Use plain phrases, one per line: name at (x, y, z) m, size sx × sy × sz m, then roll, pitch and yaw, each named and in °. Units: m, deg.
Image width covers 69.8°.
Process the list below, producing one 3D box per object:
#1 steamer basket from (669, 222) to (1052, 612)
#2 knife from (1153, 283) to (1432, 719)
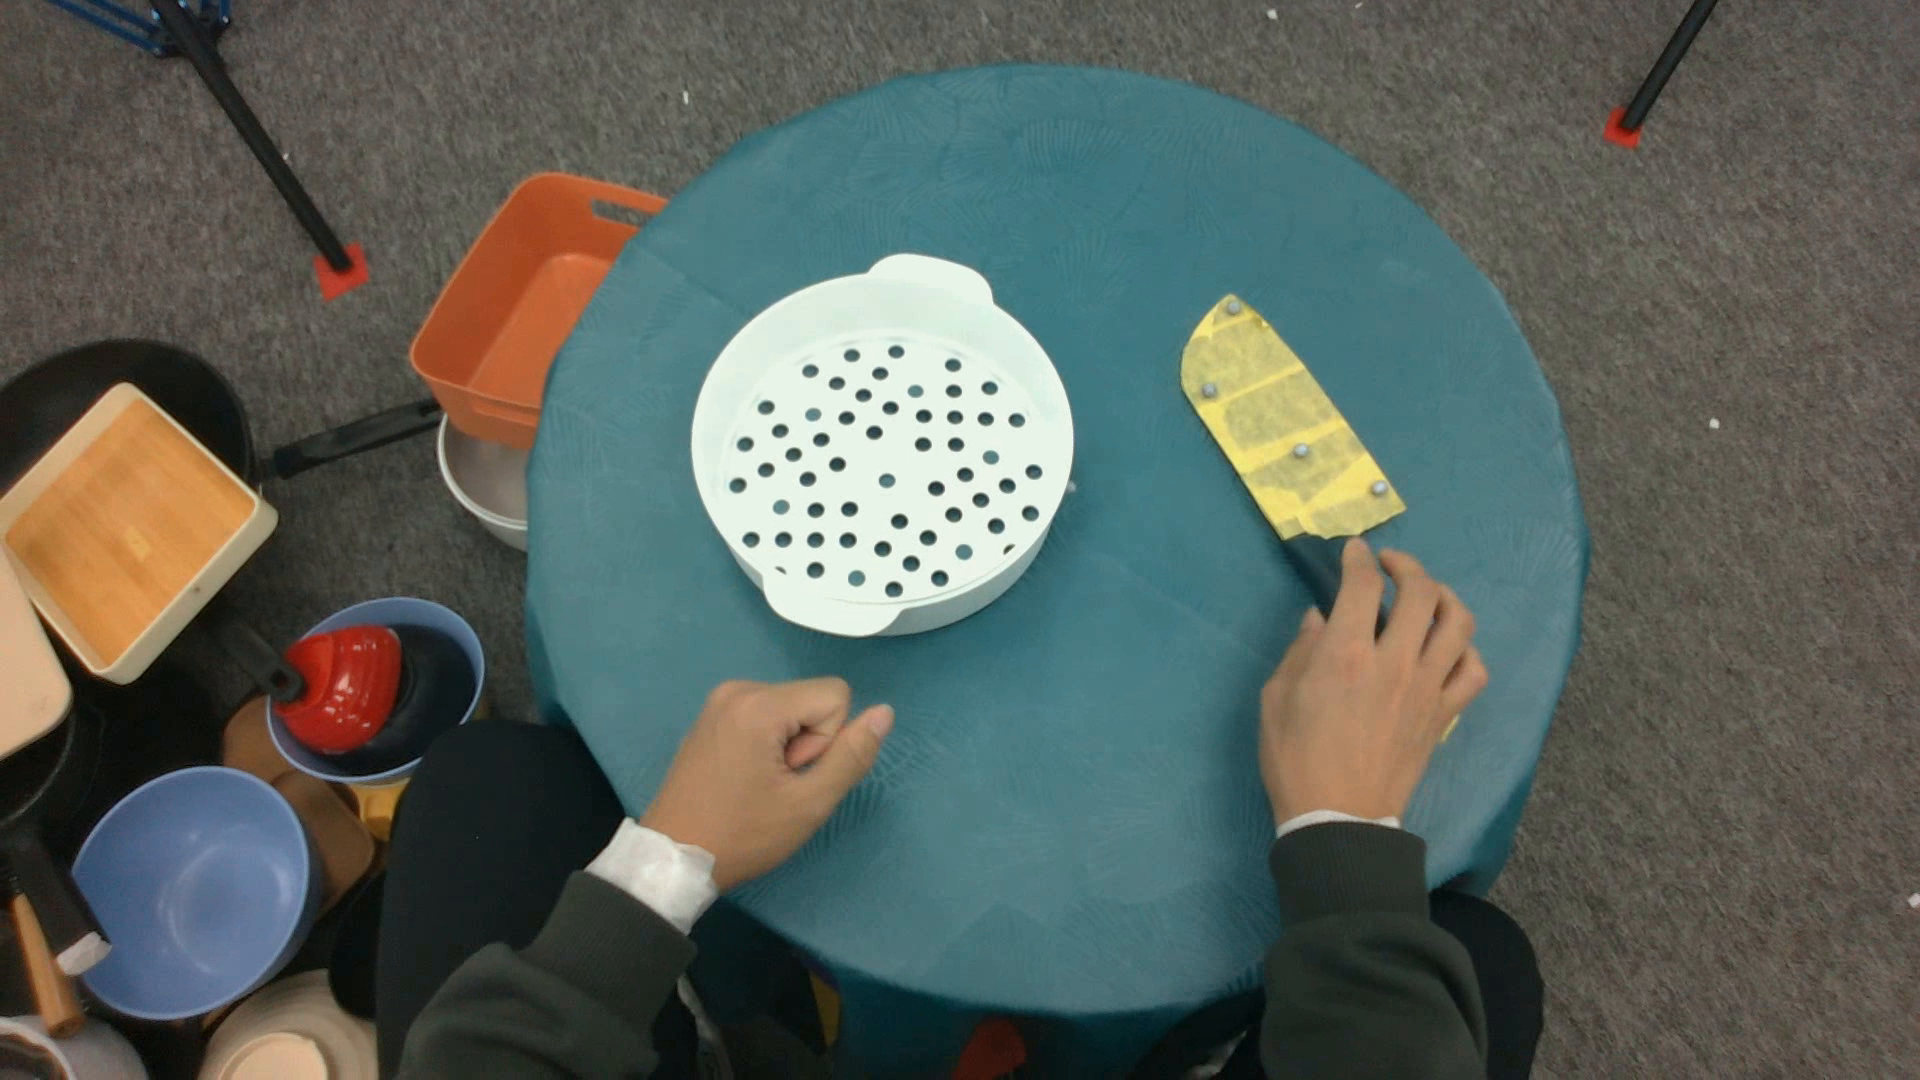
steamer basket at (-0.053, -0.061, 0.752) m, size 0.202 × 0.069 × 0.231 m, roll 14°, pitch 68°, yaw 4°
knife at (0.192, -0.033, 0.779) m, size 0.081 × 0.027 × 0.290 m, roll -22°, pitch 69°, yaw -8°
